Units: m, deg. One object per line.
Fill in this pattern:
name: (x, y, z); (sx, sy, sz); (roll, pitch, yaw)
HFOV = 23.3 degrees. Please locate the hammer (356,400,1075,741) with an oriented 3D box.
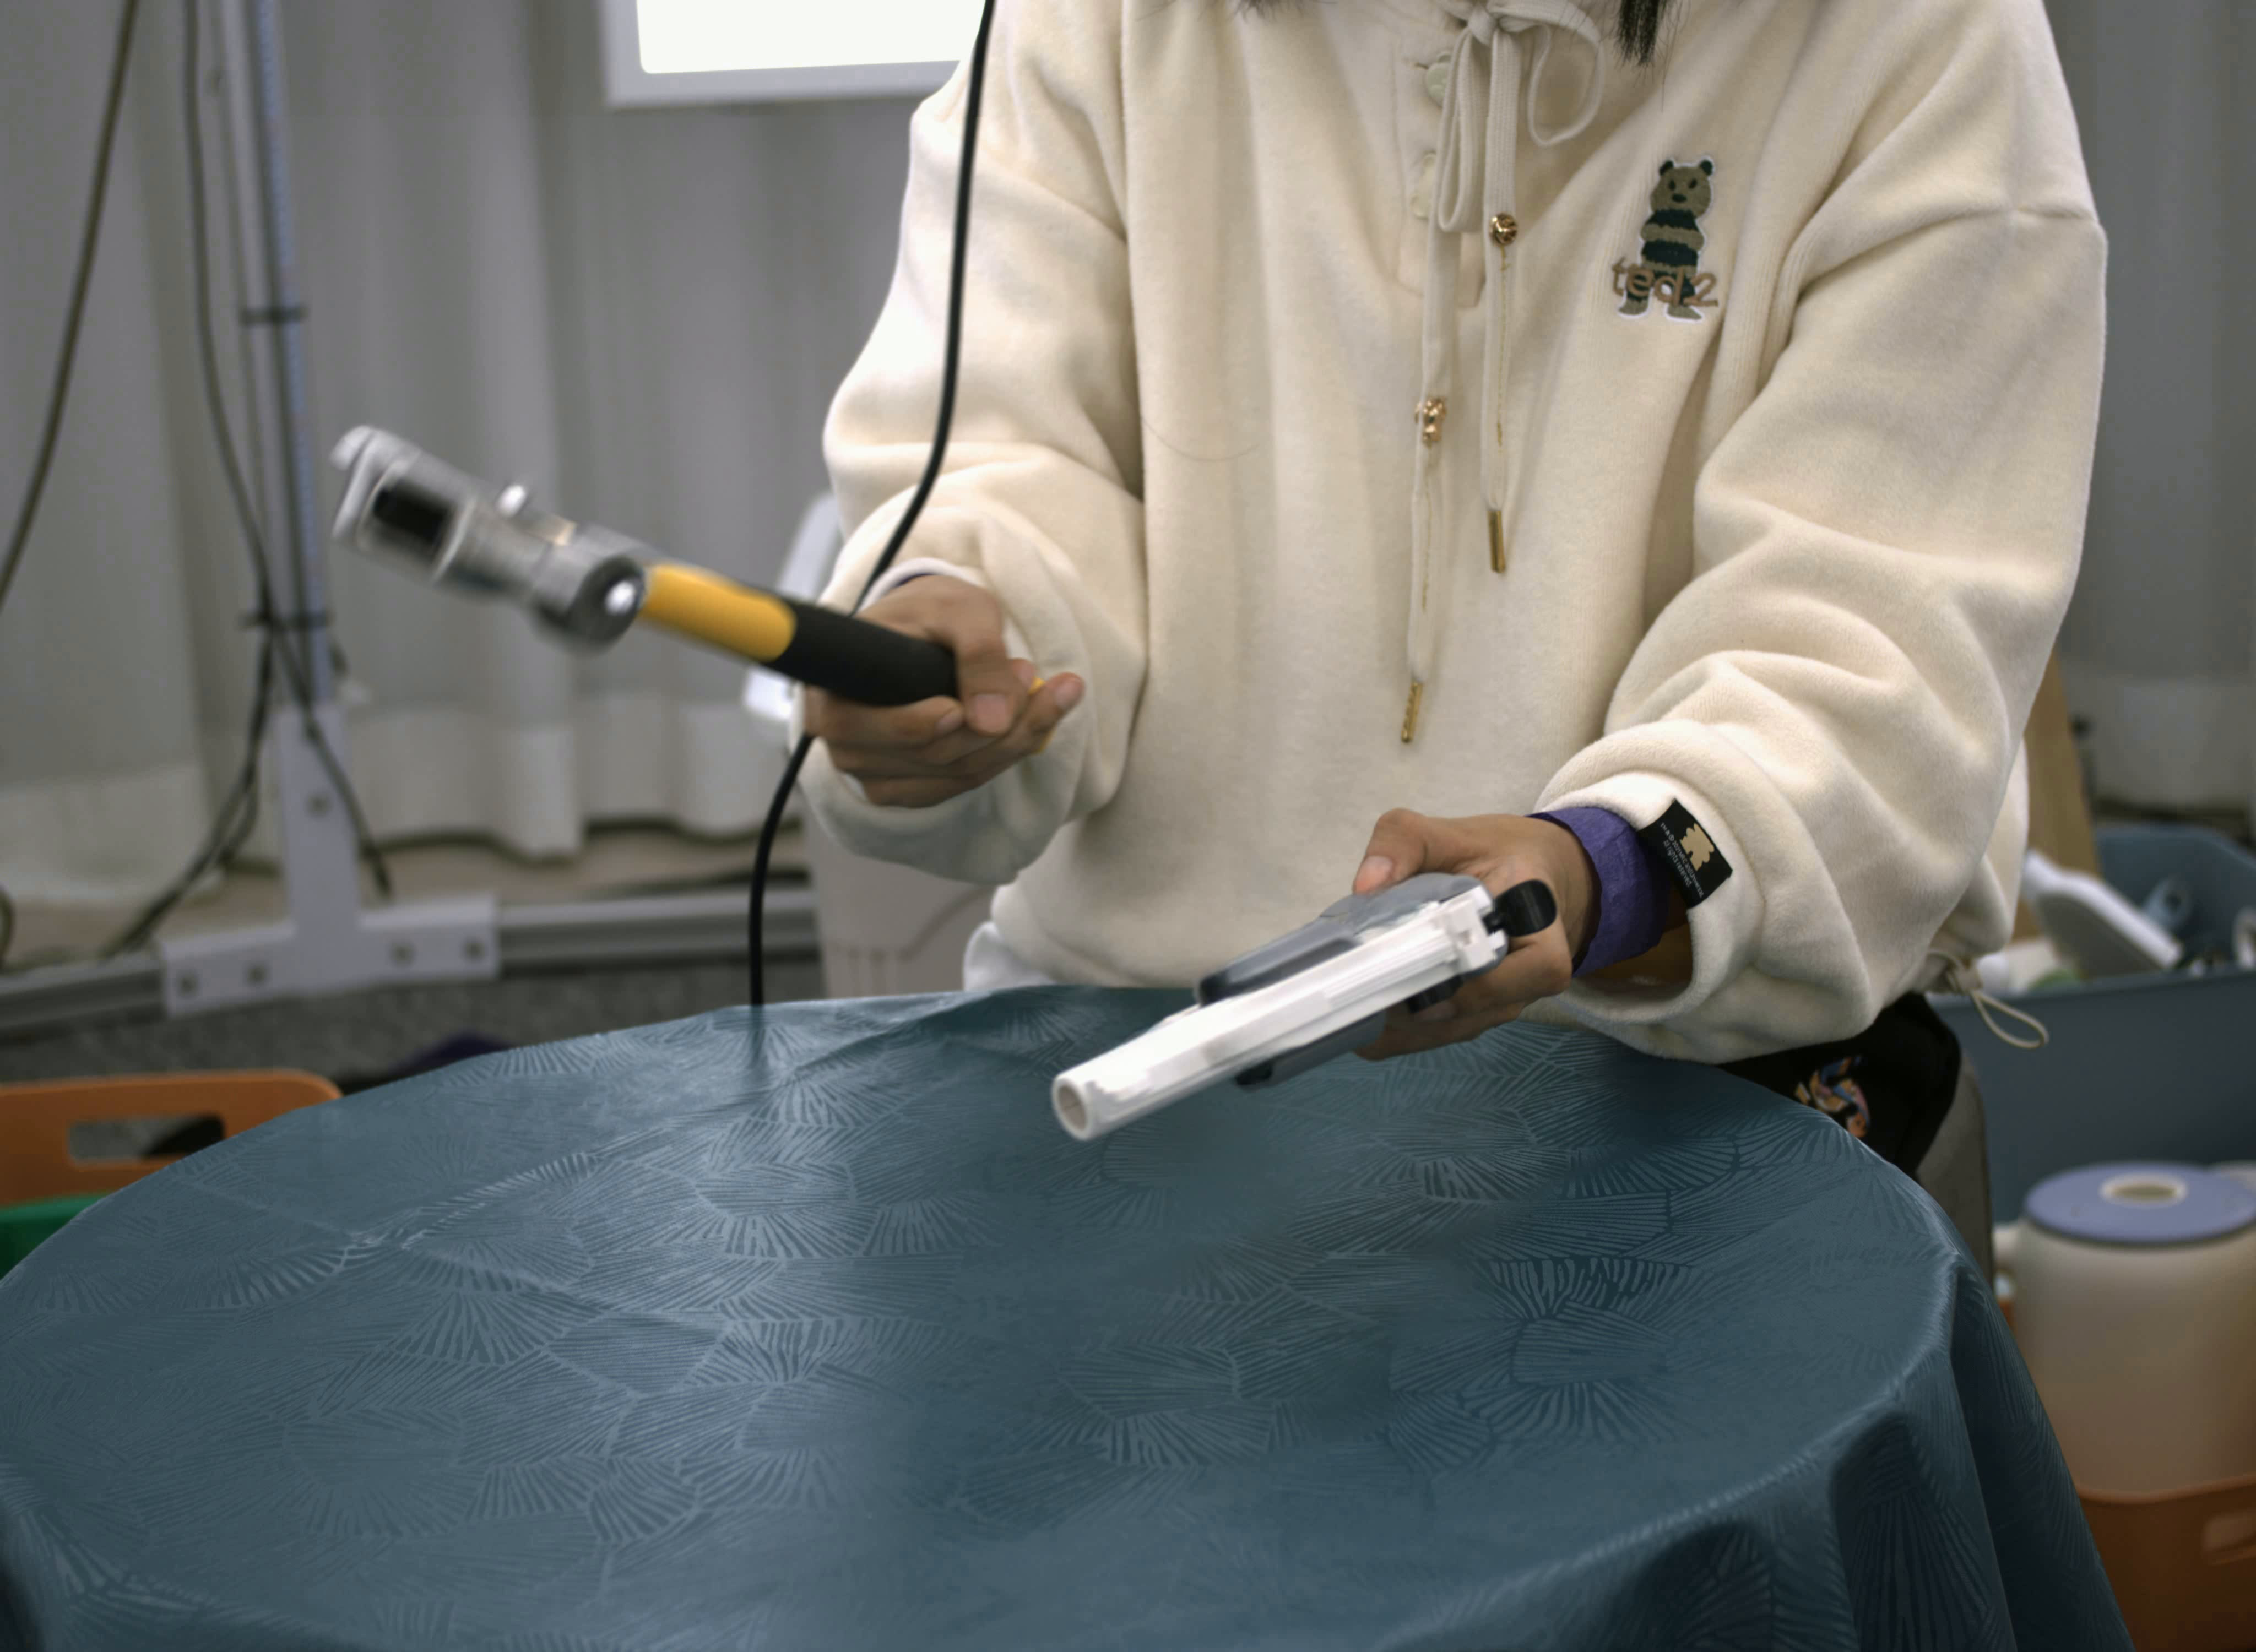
hammer: (-0.112, -0.070, 1.676); (0.132, 0.032, 0.335); (23, 2, 31)

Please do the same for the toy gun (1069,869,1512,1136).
toy gun: (0.045, 0.049, 1.585); (0.209, 0.039, 0.141); (-22, 2, -33)
